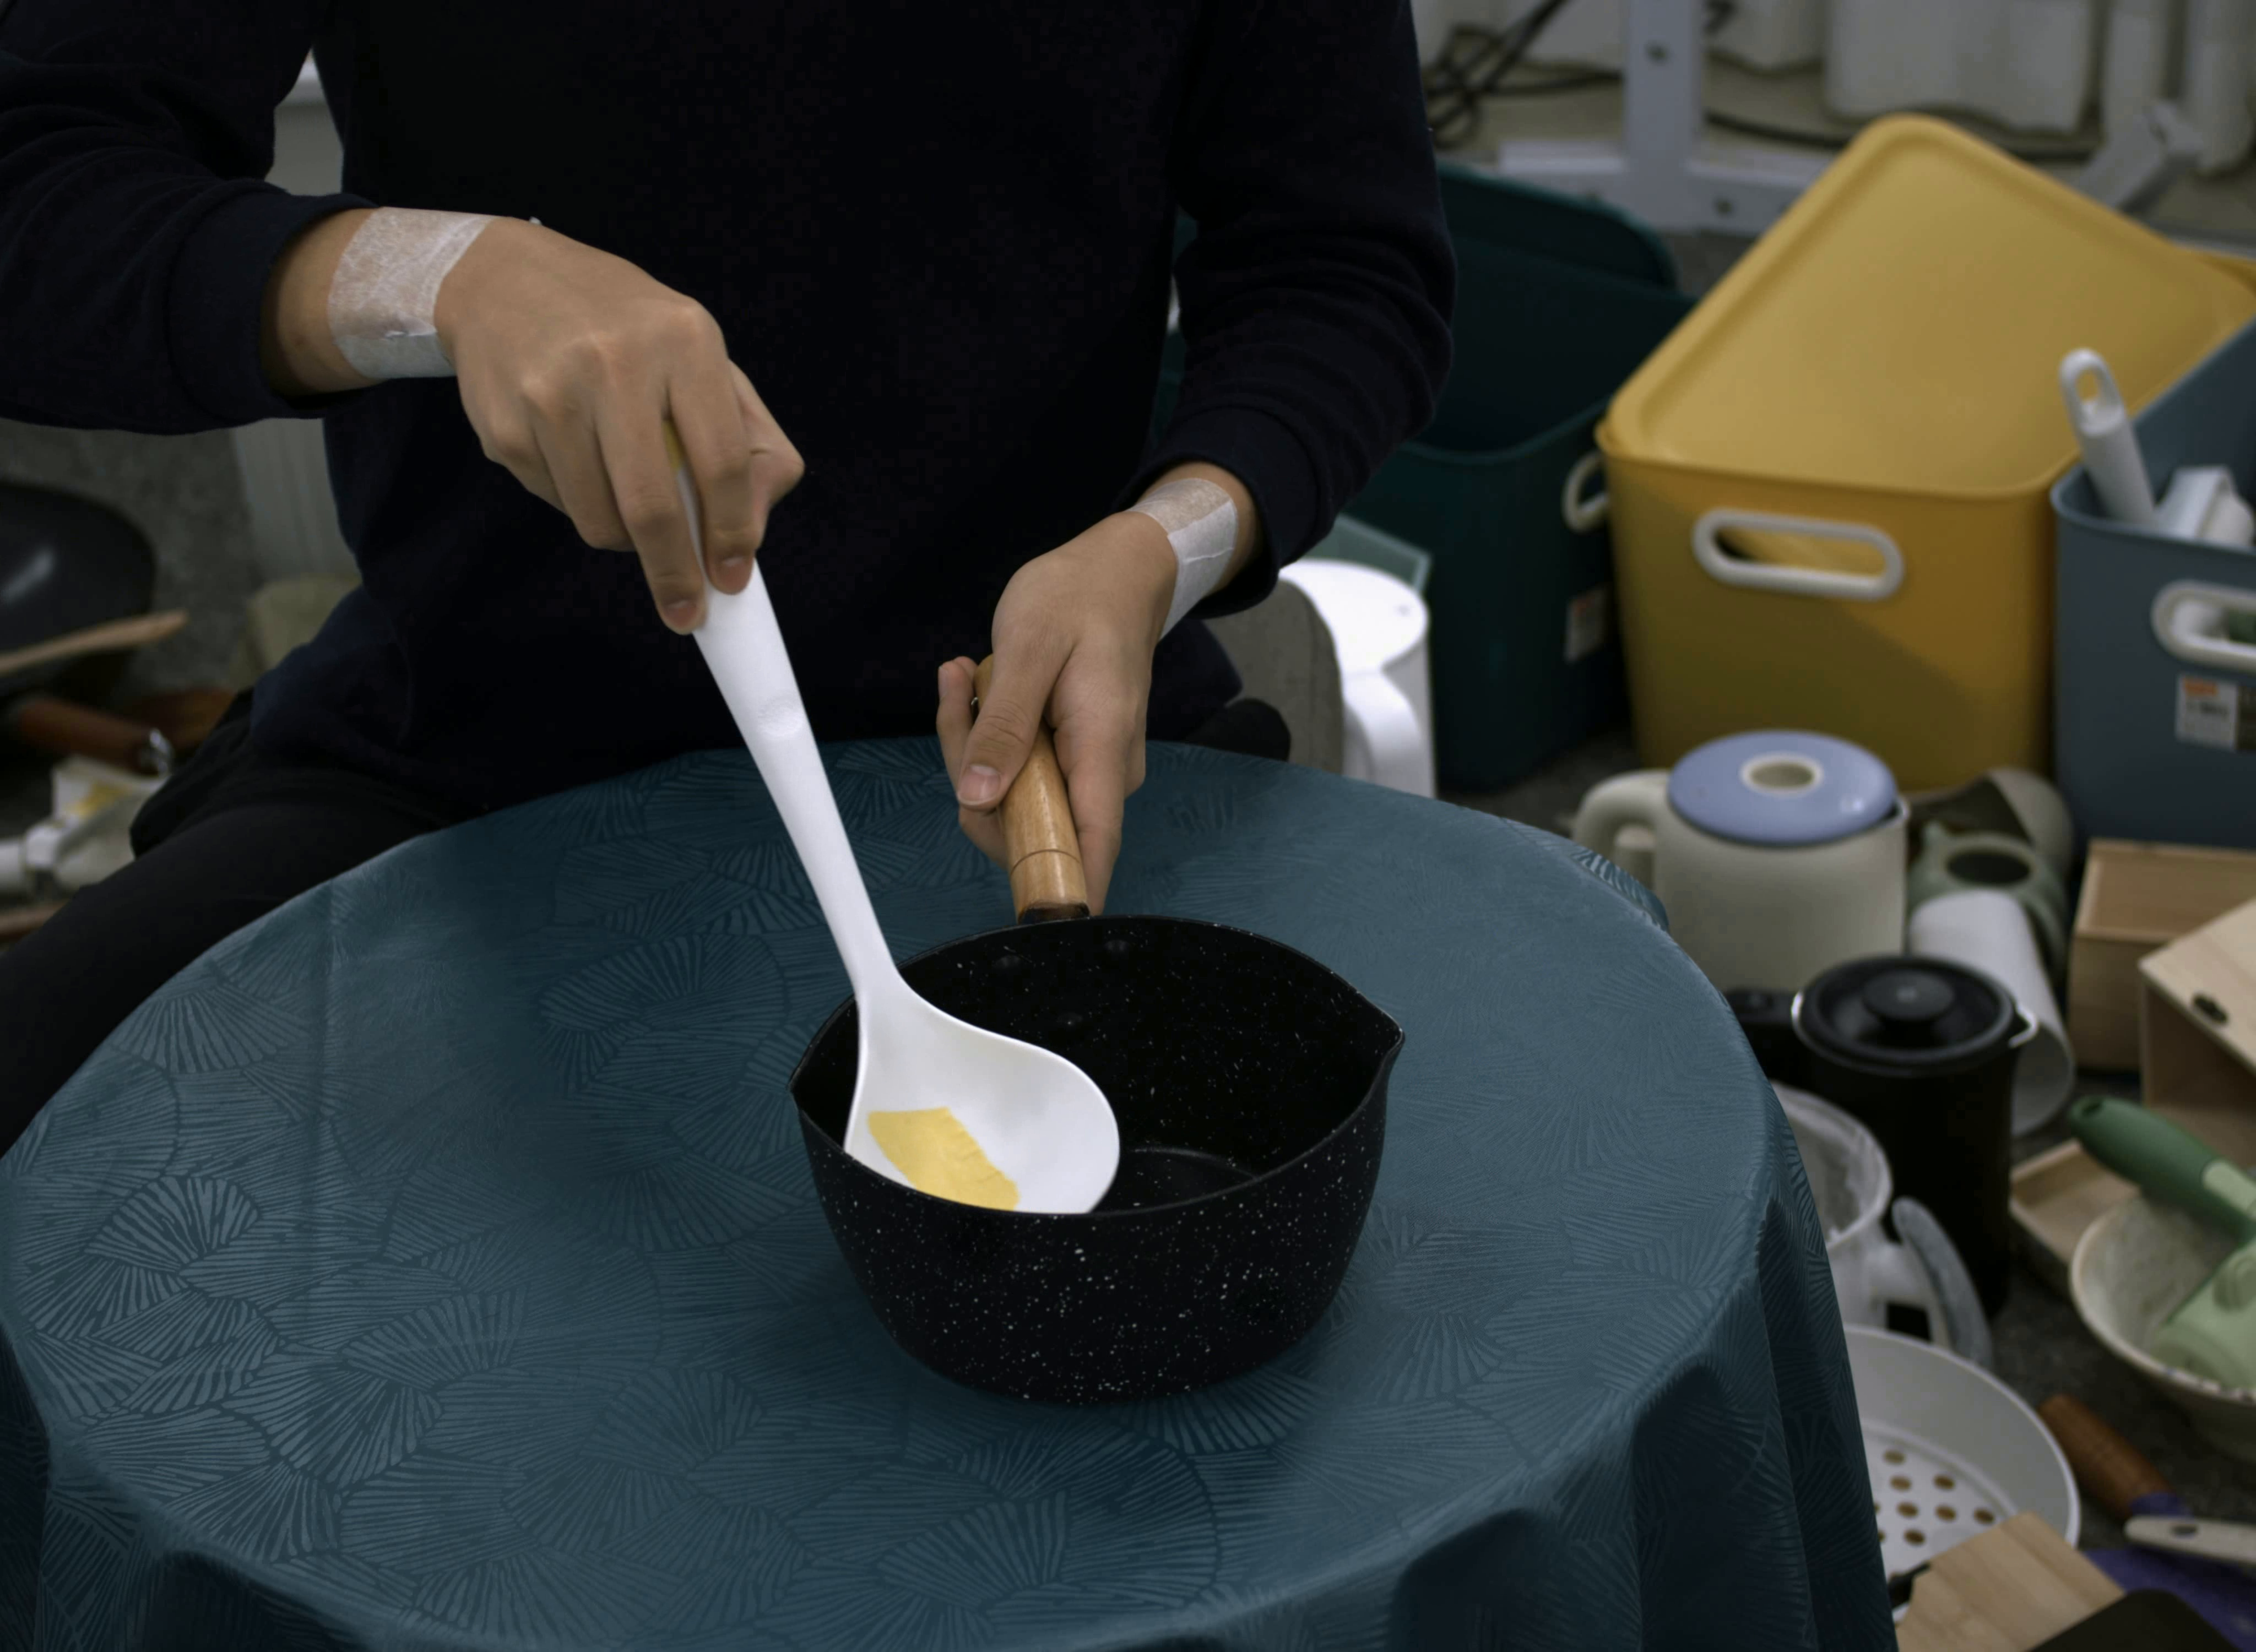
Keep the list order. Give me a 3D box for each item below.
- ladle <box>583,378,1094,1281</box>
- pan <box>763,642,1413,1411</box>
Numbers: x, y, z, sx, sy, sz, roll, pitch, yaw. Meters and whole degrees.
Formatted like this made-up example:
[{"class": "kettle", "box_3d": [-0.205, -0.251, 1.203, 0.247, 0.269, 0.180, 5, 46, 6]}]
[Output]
[{"class": "ladle", "box_3d": [-0.099, 0.000, 1.756, 0.090, 0.293, 0.069, -23, 6, -14]}, {"class": "pan", "box_3d": [-0.021, 0.063, 1.860, 0.207, 0.107, 0.347, -7, 29, -6]}]
